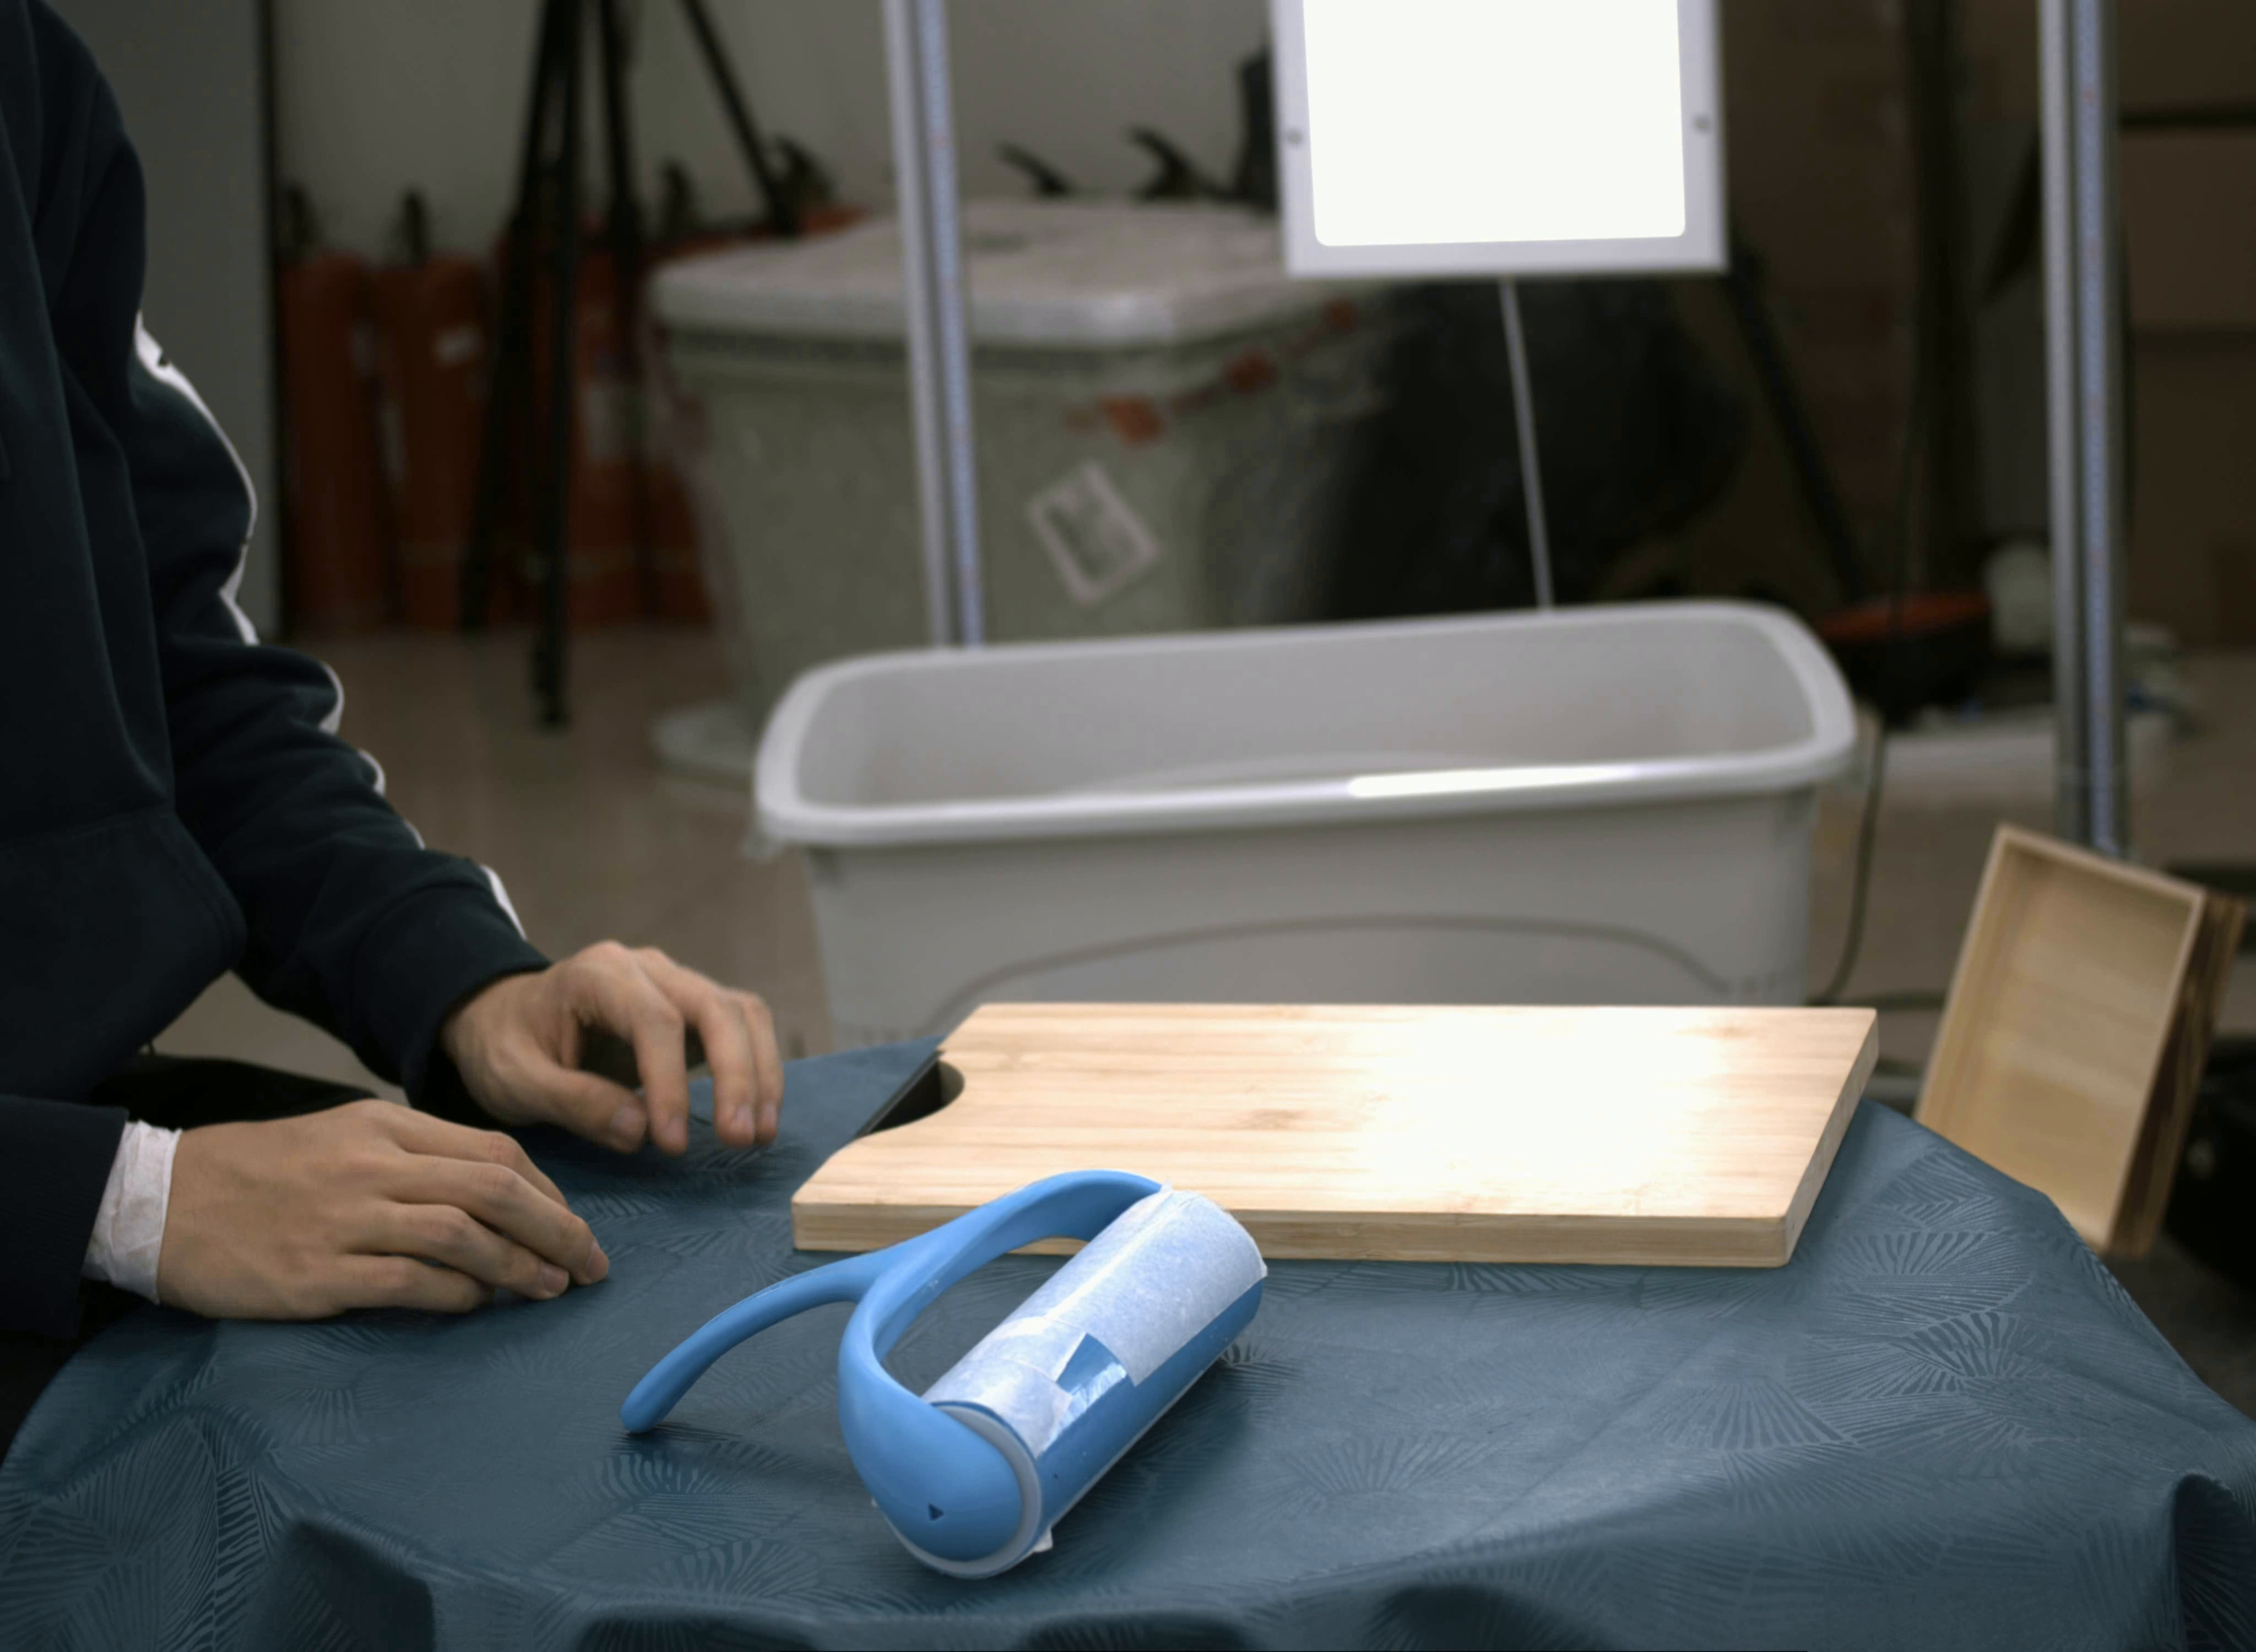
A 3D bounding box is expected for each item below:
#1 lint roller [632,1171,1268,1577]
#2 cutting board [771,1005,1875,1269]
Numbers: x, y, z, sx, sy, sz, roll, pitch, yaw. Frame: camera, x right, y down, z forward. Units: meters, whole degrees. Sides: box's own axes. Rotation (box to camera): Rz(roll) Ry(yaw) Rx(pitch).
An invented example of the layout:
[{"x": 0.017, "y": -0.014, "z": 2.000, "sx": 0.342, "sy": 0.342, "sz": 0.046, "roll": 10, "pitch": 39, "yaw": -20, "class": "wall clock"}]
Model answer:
[{"x": -0.069, "y": 0.161, "z": 1.658, "sx": 0.182, "sy": 0.068, "sz": 0.225, "roll": 0, "pitch": 16, "yaw": 19, "class": "lint roller"}, {"x": 0.075, "y": 0.106, "z": 1.920, "sx": 0.352, "sy": 0.023, "sz": 0.247, "roll": -1, "pitch": 14, "yaw": 16, "class": "cutting board"}]
